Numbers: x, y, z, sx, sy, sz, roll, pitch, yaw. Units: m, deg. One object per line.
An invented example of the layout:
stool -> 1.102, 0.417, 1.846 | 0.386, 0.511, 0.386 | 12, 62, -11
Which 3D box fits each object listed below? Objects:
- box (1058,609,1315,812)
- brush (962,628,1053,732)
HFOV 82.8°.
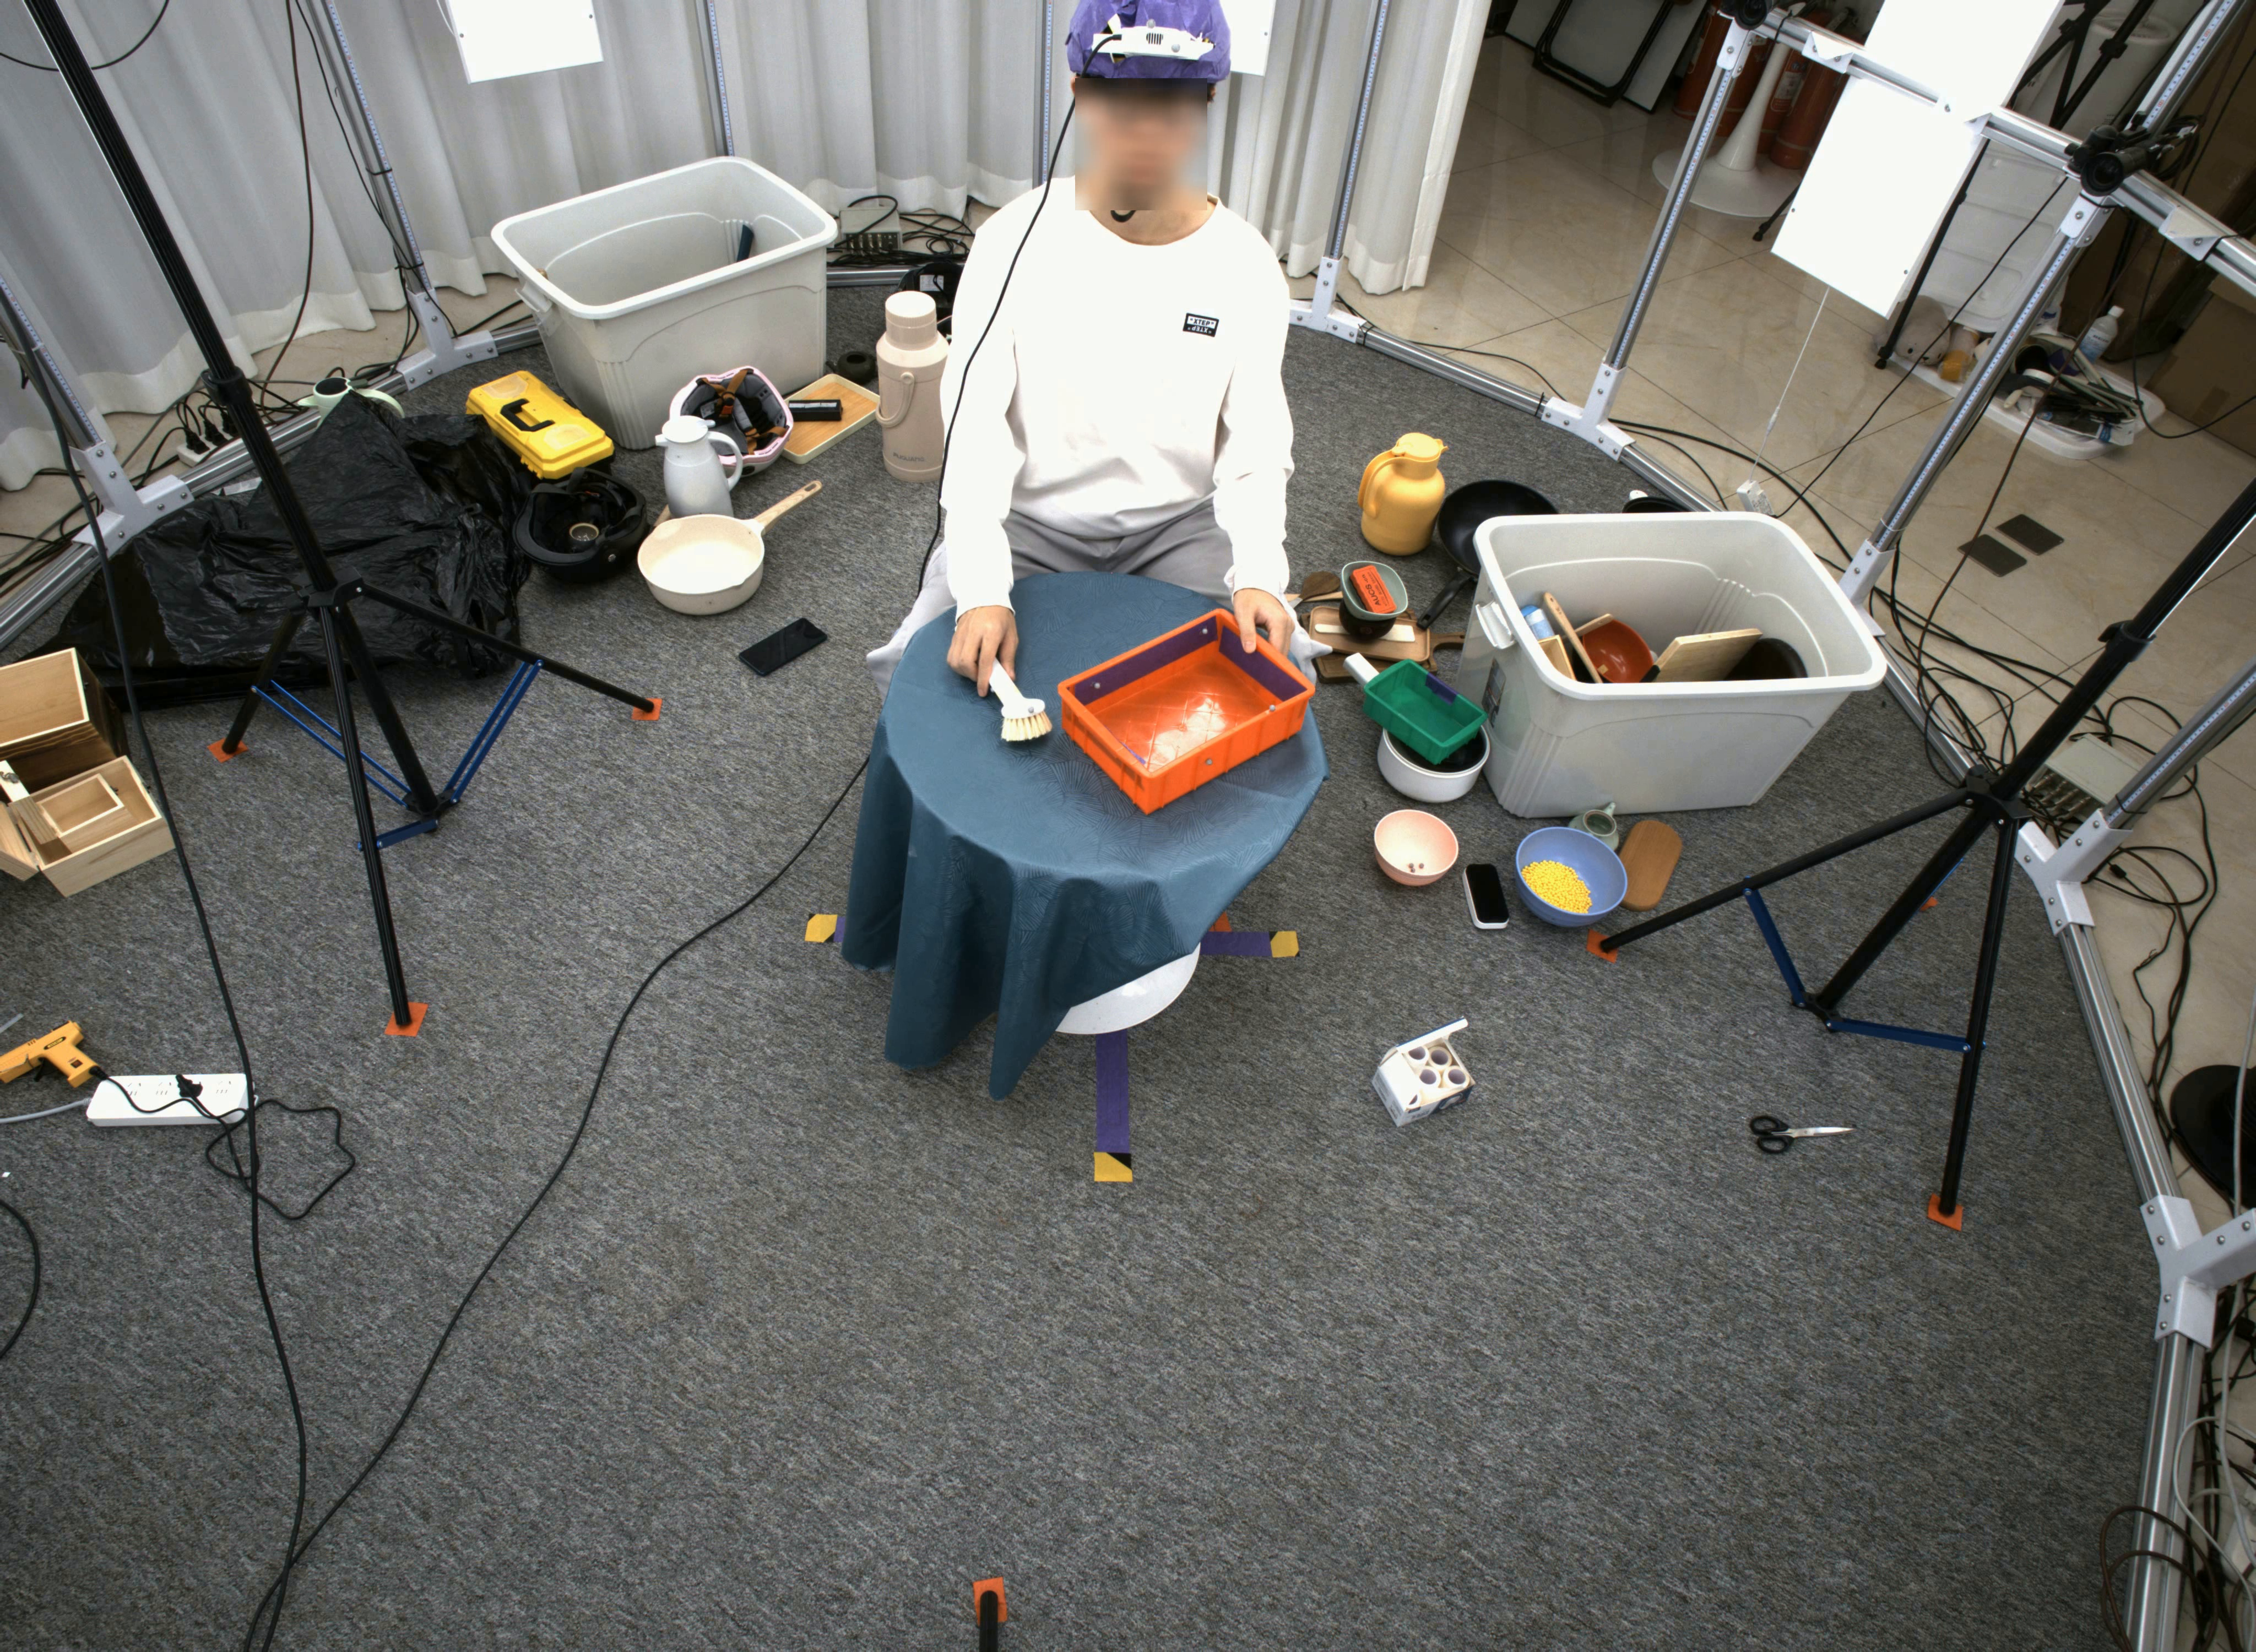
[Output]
box -> 0.076, -0.157, 1.751 | 0.305, 0.094, 0.210 | -27, 55, -27
brush -> -0.179, -0.203, 1.816 | 0.068, 0.055, 0.272 | -6, 33, -27
